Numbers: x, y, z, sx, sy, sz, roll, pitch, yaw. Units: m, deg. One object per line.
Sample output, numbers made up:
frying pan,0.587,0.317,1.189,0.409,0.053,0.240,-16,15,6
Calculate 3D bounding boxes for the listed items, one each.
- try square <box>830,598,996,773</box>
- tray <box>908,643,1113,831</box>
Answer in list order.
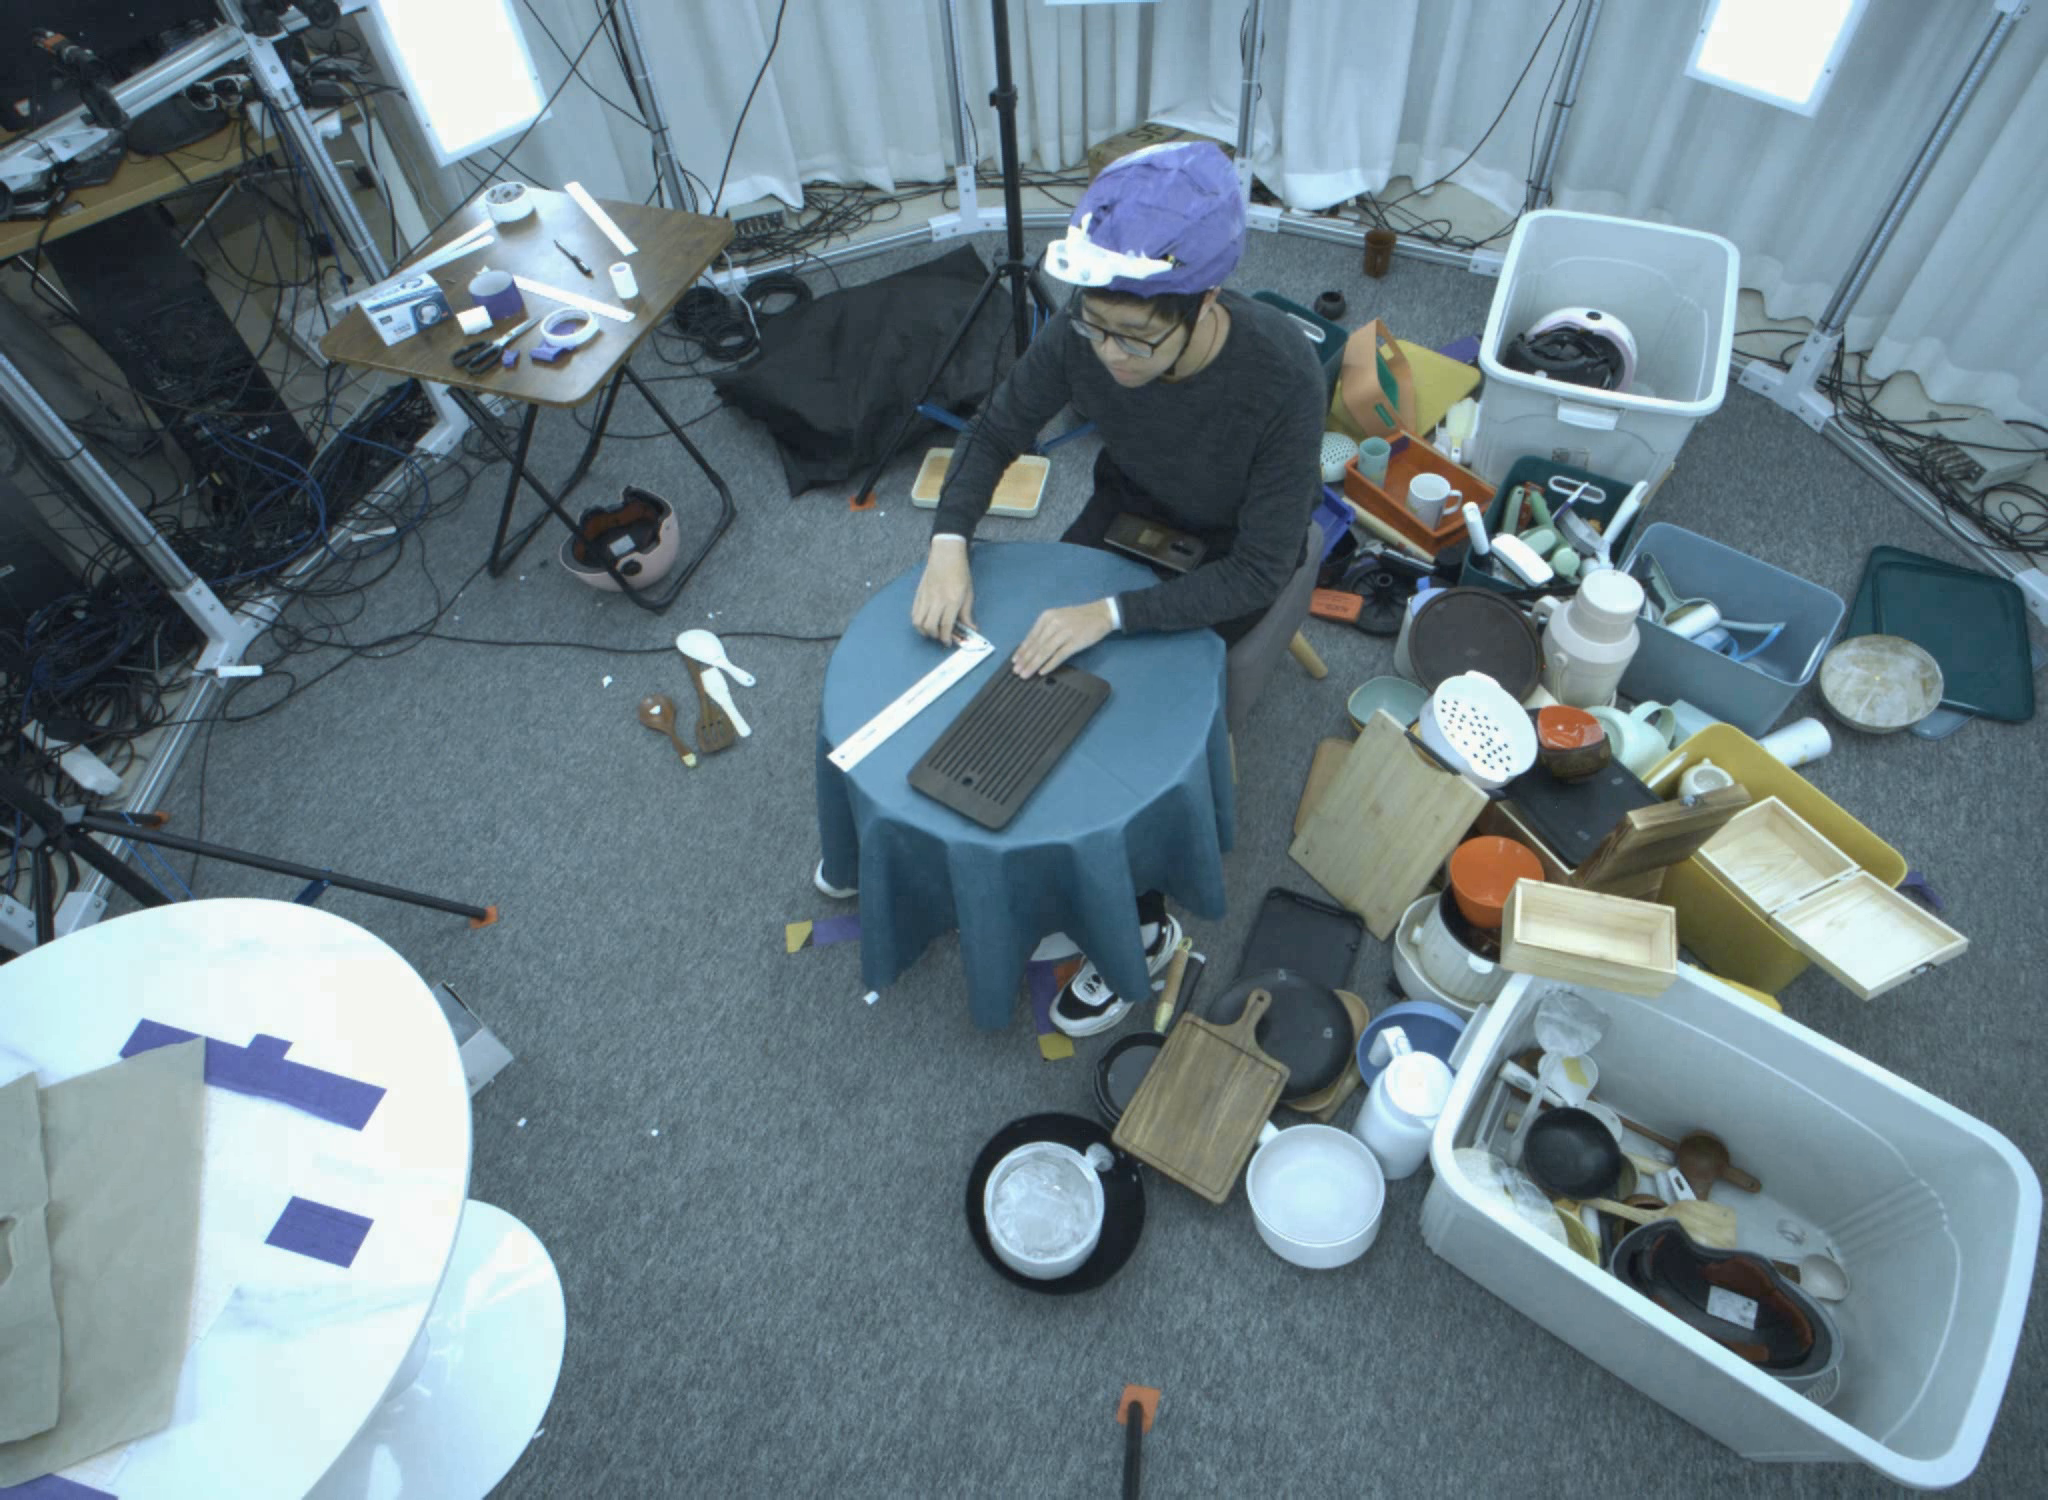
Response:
try square,-0.203,-0.104,1.862,0.149,0.016,0.315,37,65,23
tray,-0.017,-0.023,1.793,0.167,0.019,0.307,28,60,20
